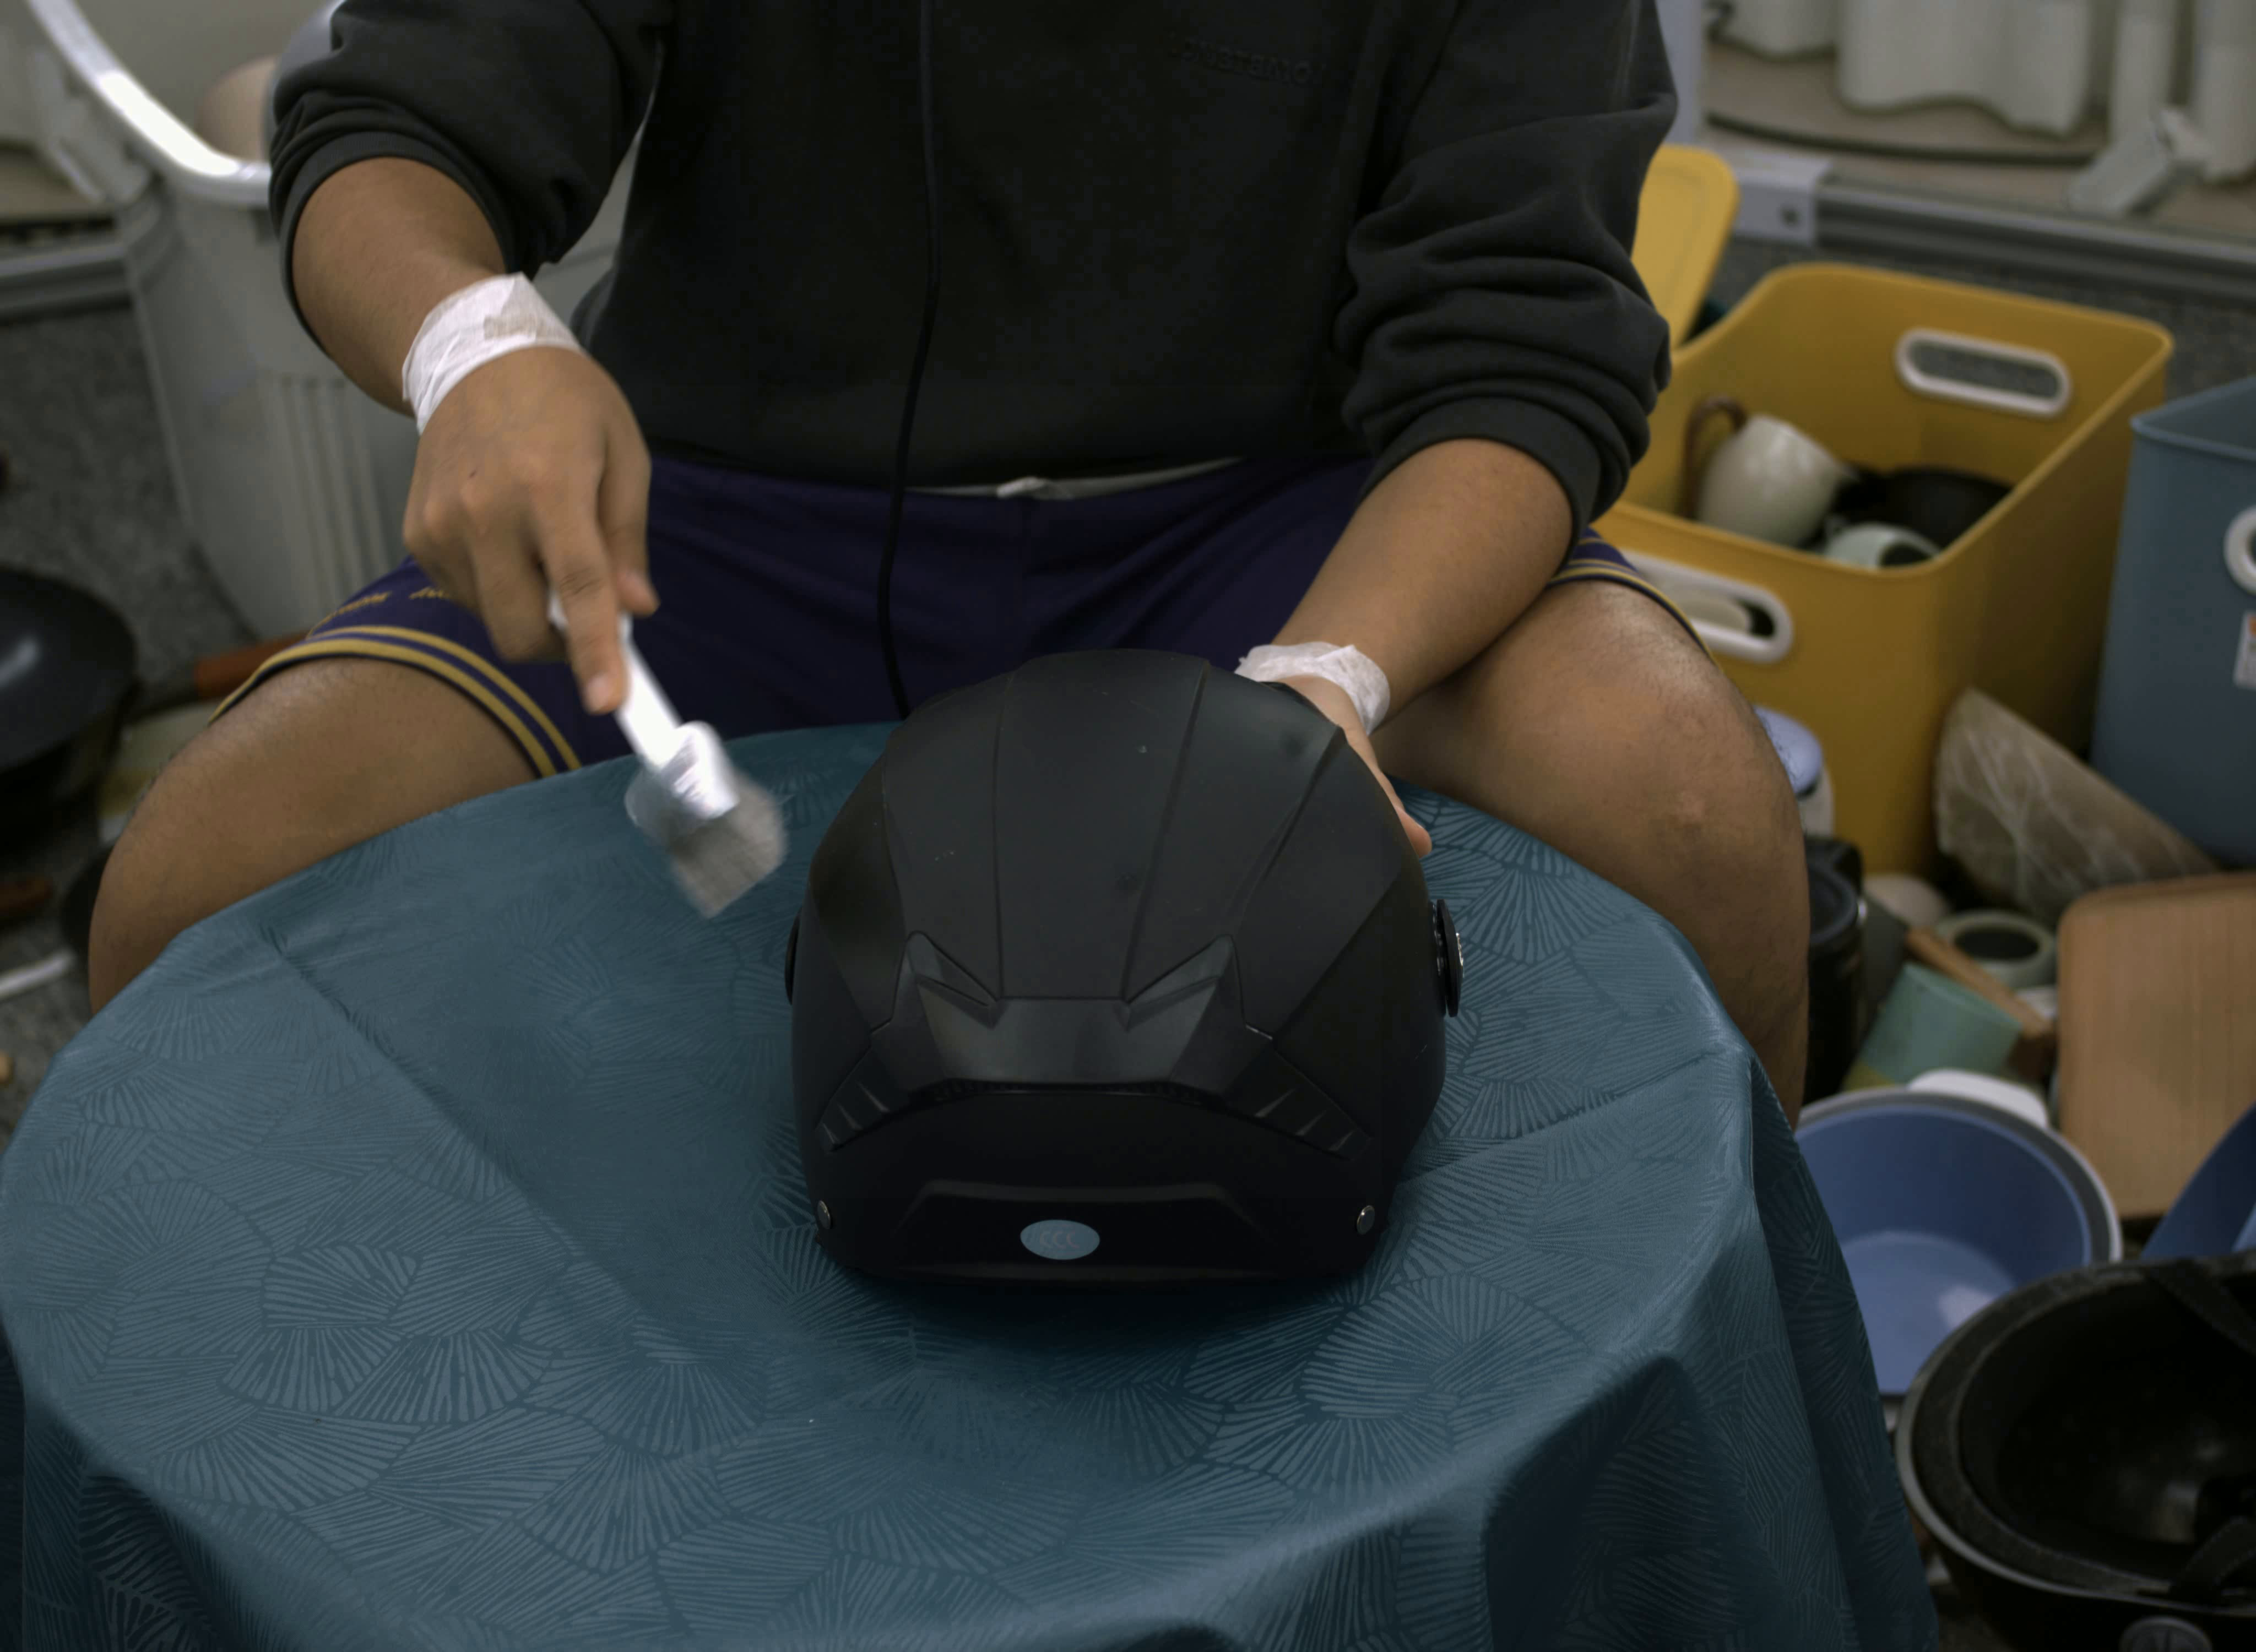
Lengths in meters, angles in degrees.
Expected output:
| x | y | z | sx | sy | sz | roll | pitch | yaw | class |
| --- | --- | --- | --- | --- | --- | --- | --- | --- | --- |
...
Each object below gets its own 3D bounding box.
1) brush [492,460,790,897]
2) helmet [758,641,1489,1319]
| x | y | z | sx | sy | sz | roll | pitch | yaw | class |
| --- | --- | --- | --- | --- | --- | --- | --- | --- | --- |
| -0.163 | -0.051 | 1.889 | 0.034 | 0.050 | 0.246 | -40 | 37 | 5 | brush |
| -0.003 | 0.032 | 1.847 | 0.245 | 0.170 | 0.282 | 2 | 38 | 8 | helmet |
